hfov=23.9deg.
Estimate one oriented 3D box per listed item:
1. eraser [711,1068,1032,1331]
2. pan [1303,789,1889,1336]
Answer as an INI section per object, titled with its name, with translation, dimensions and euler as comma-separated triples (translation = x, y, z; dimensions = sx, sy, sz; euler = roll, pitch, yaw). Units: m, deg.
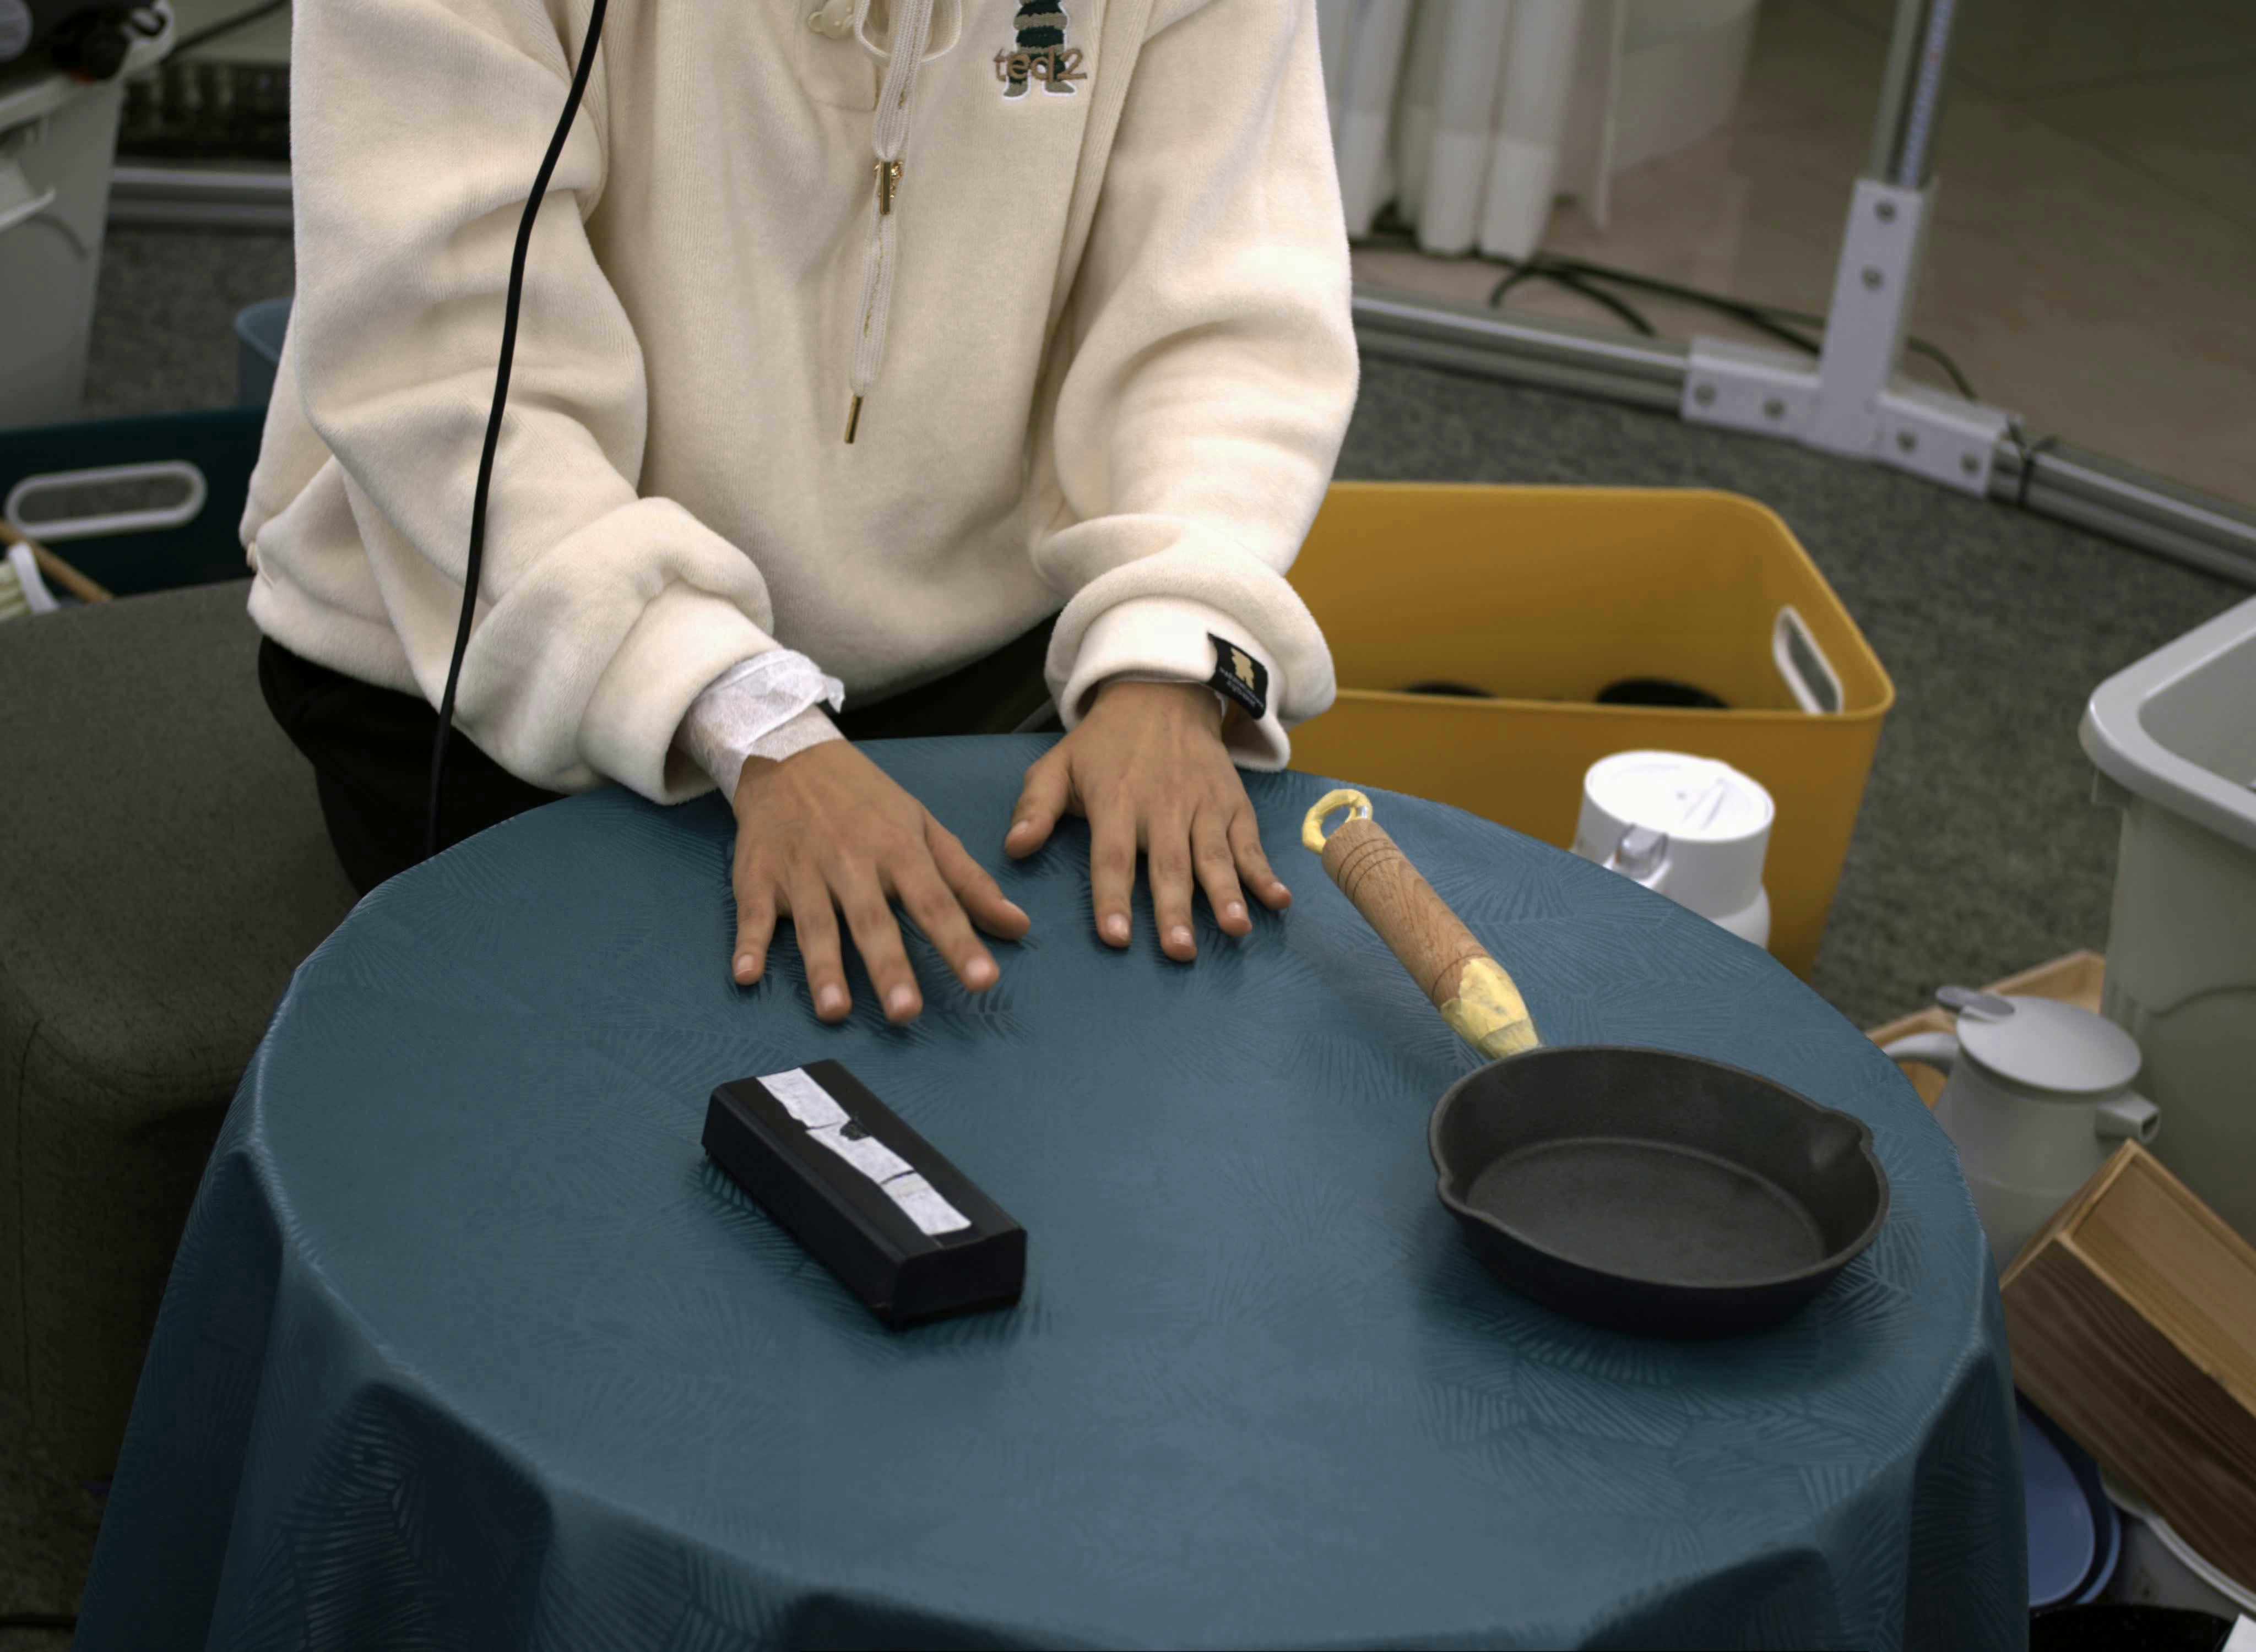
[eraser]
translation = -0.086, 0.122, 1.756
dimensions = 0.053, 0.030, 0.126
euler = -10, 30, -32
[pan]
translation = 0.142, 0.080, 1.862
dimensions = 0.168, 0.049, 0.327
euler = -8, 31, -24
